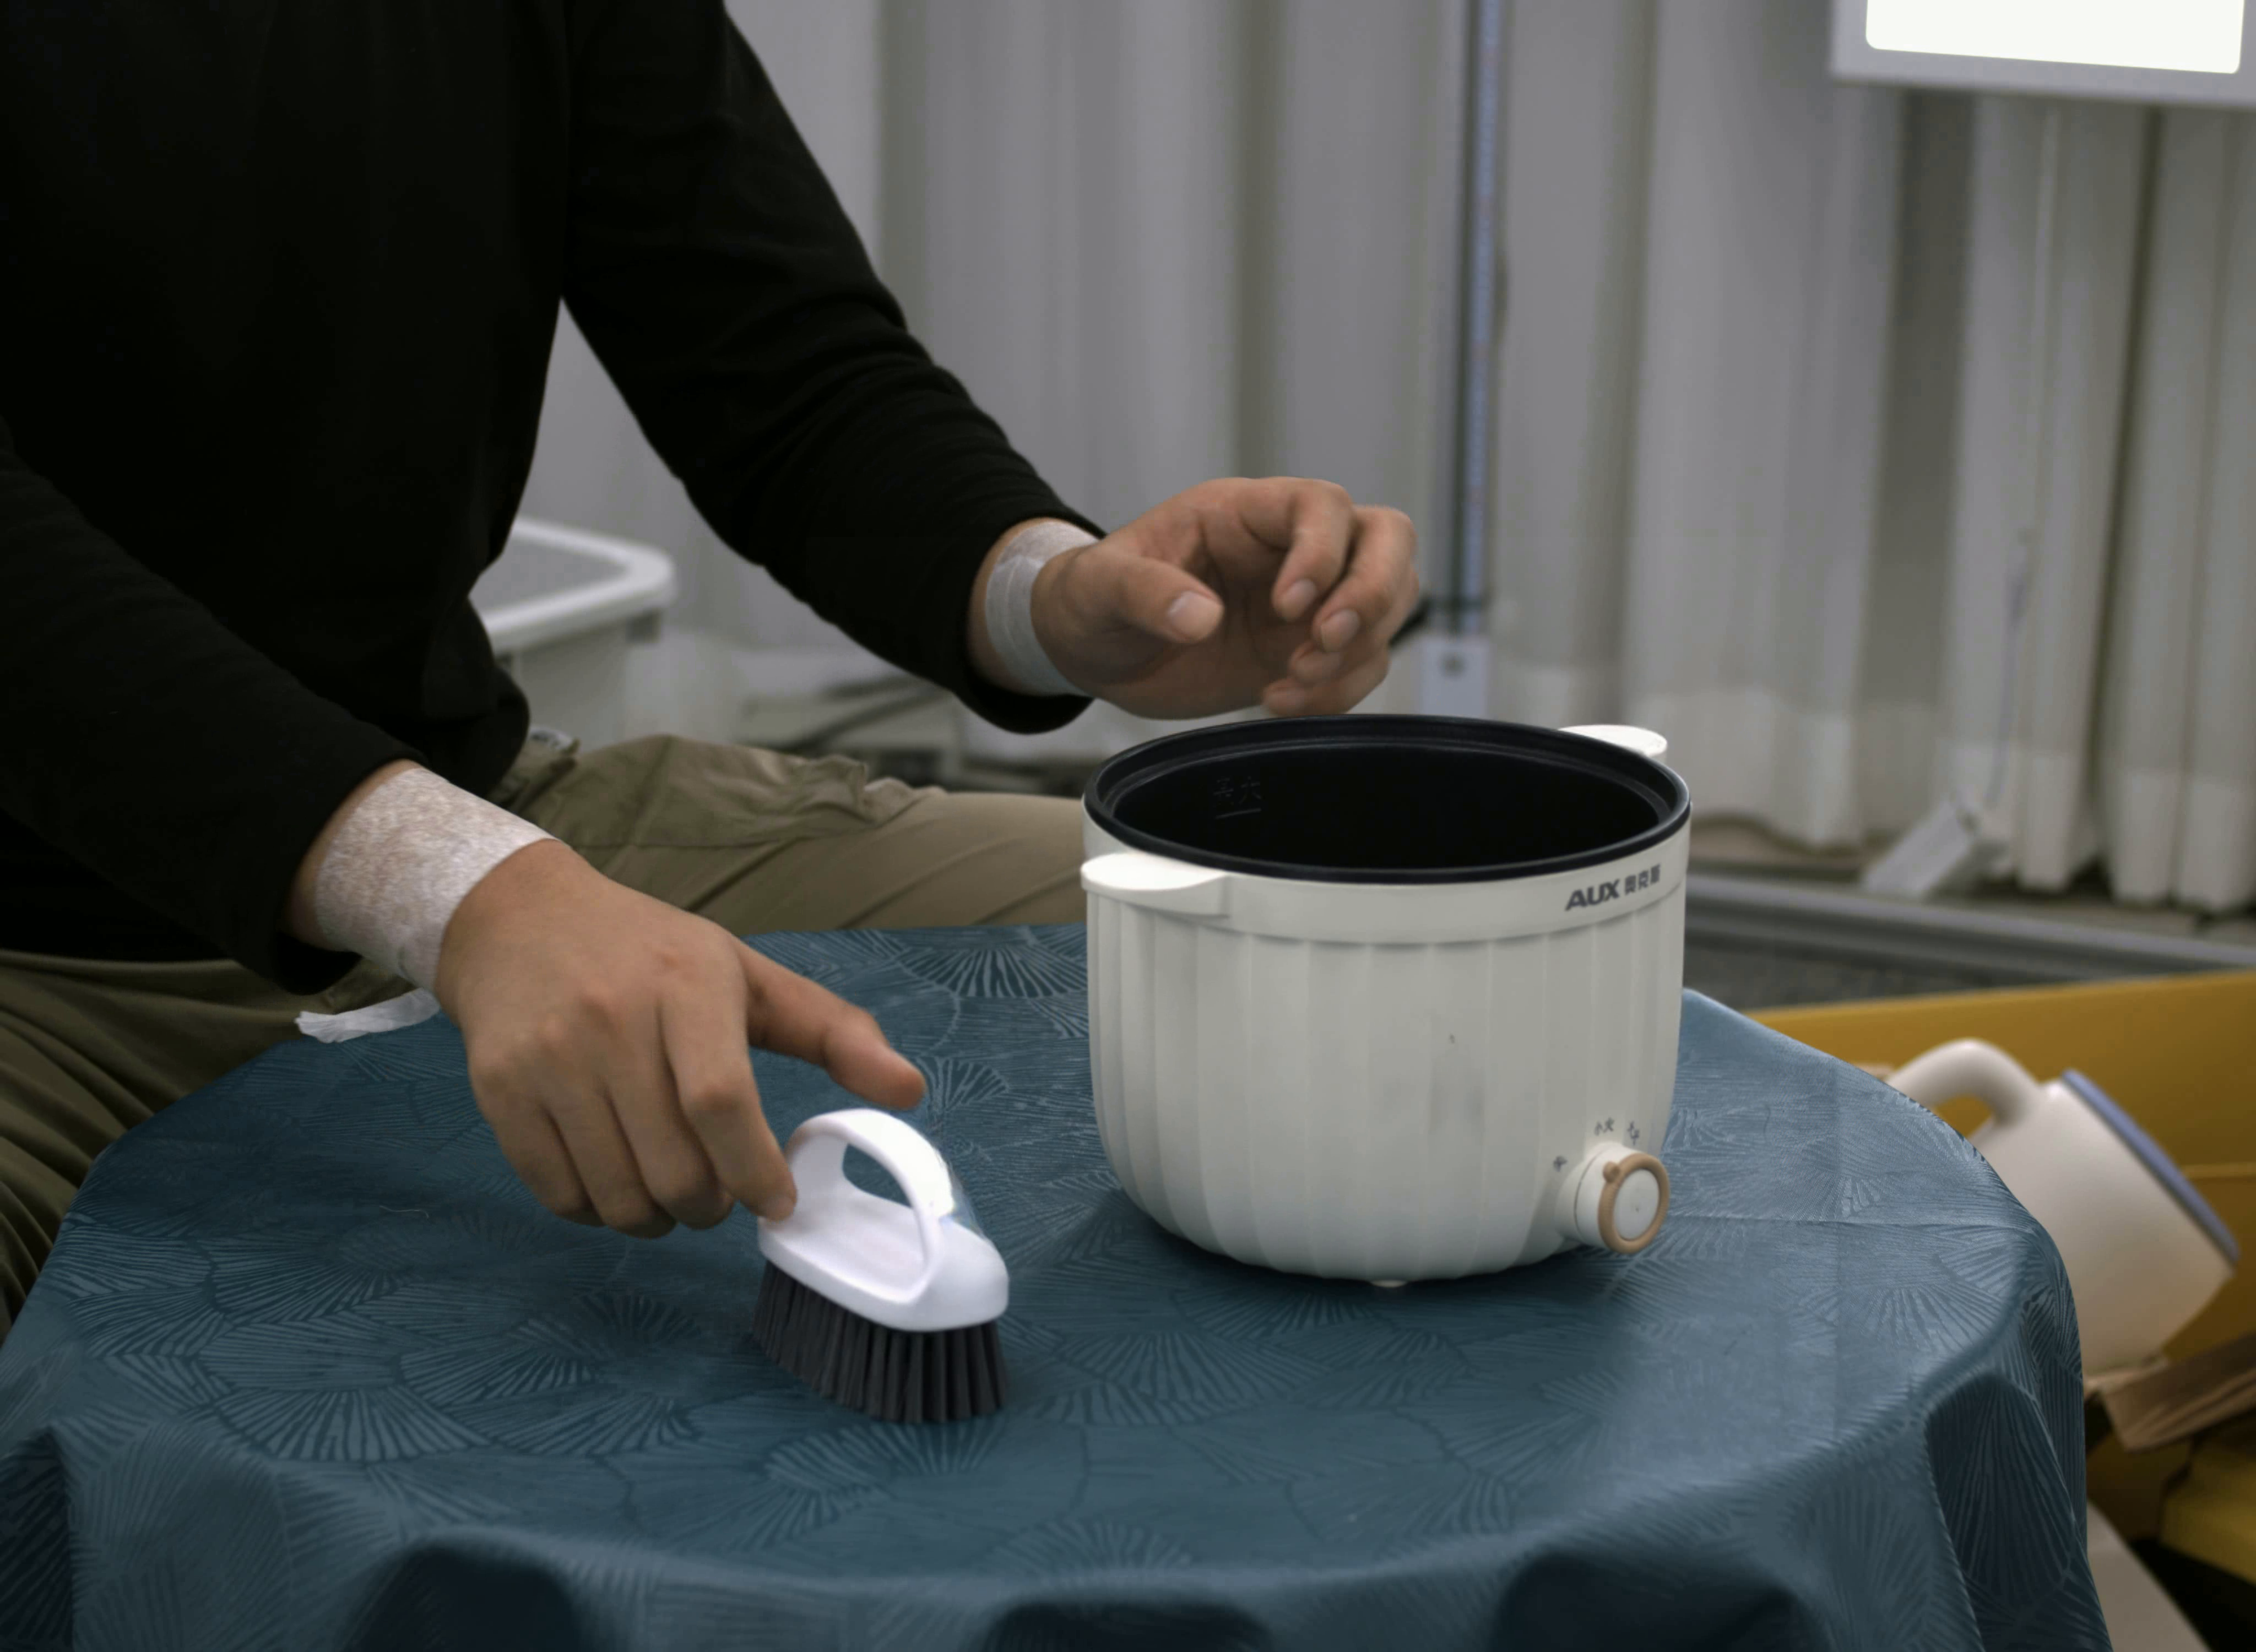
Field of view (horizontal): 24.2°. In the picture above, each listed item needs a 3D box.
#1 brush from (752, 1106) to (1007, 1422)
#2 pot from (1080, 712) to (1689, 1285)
[{"bbox_3d":[-0.070,0.116,1.467,0.050,0.073,0.098,-9,18,-31],"label":"brush"},{"bbox_3d":[0.081,0.053,1.578,0.188,0.144,0.241,11,20,42],"label":"pot"}]
